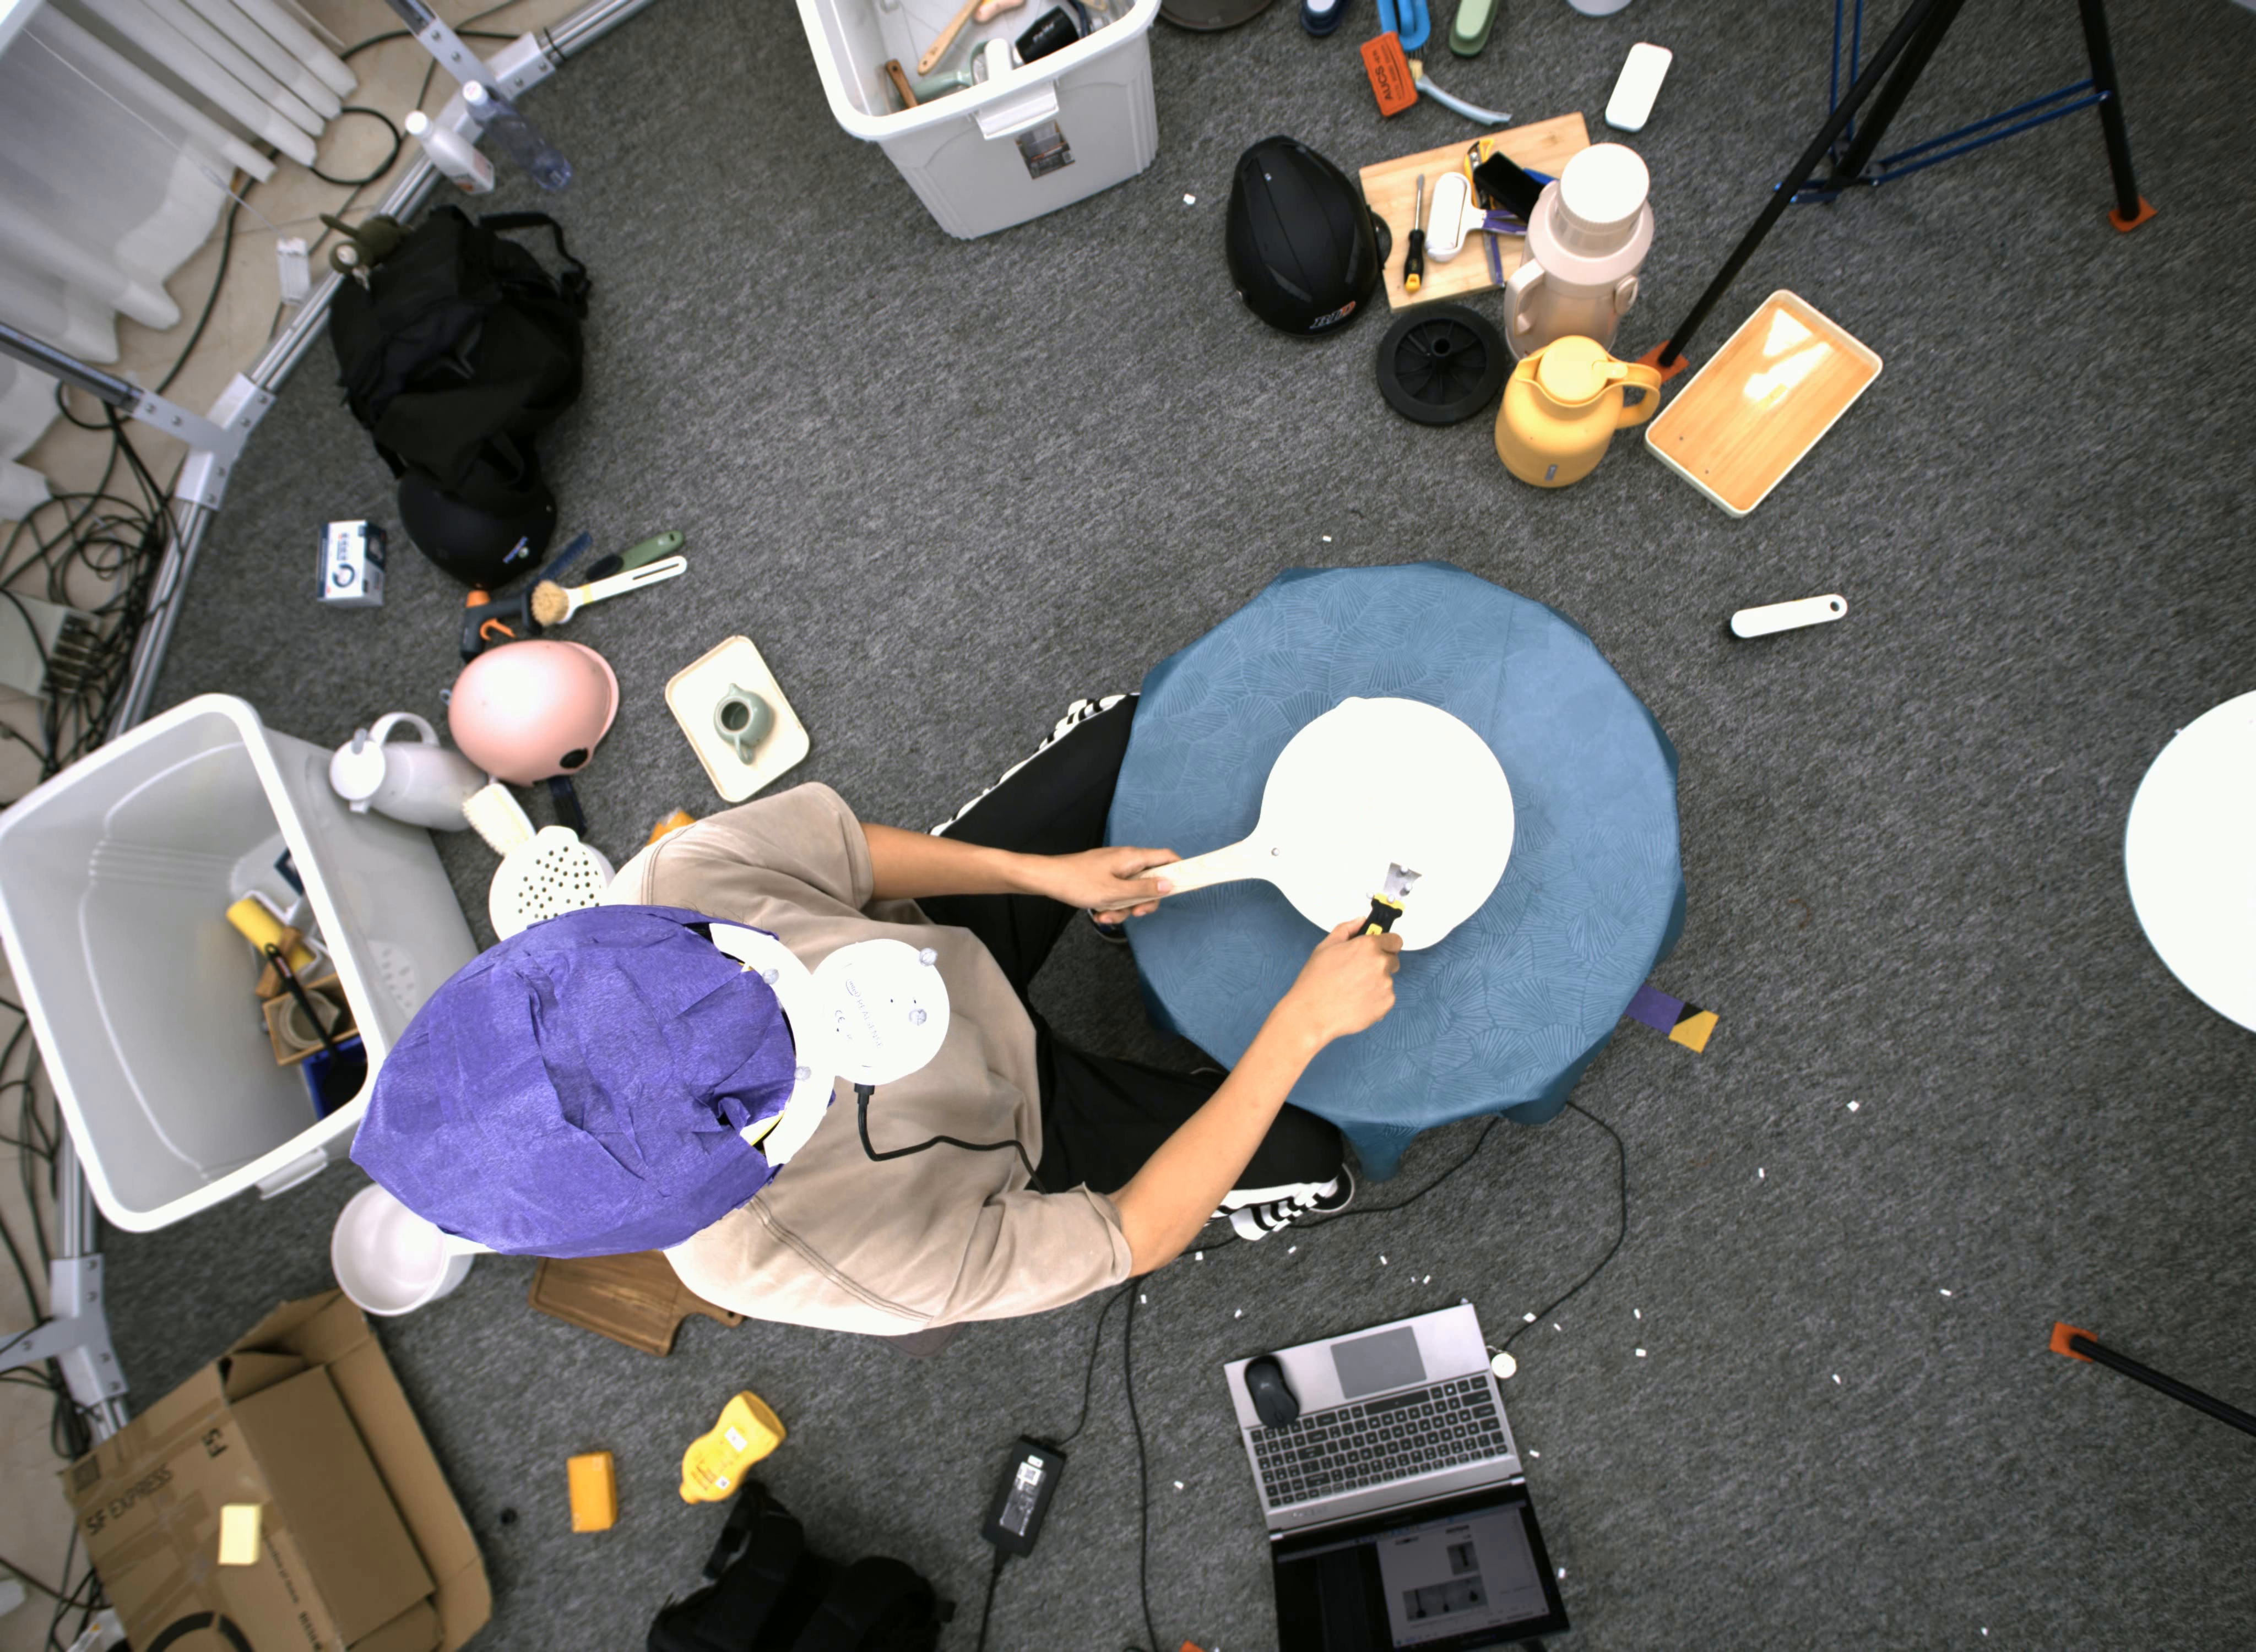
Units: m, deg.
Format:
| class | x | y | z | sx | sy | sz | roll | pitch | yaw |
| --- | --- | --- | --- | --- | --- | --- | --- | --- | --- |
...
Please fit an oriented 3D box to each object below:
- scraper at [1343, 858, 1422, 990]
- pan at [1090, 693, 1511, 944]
| class | x | y | z | sx | sy | sz | roll | pitch | yaw |
| --- | --- | --- | --- | --- | --- | --- | --- | --- | --- |
| scraper | 0.245 | 0.093 | 1.334 | 0.039 | 0.015 | 0.166 | 27 | 51 | 7 |
| pan | 0.175 | 0.018 | 1.434 | 0.437 | 0.102 | 0.262 | -17 | 86 | 9 |
